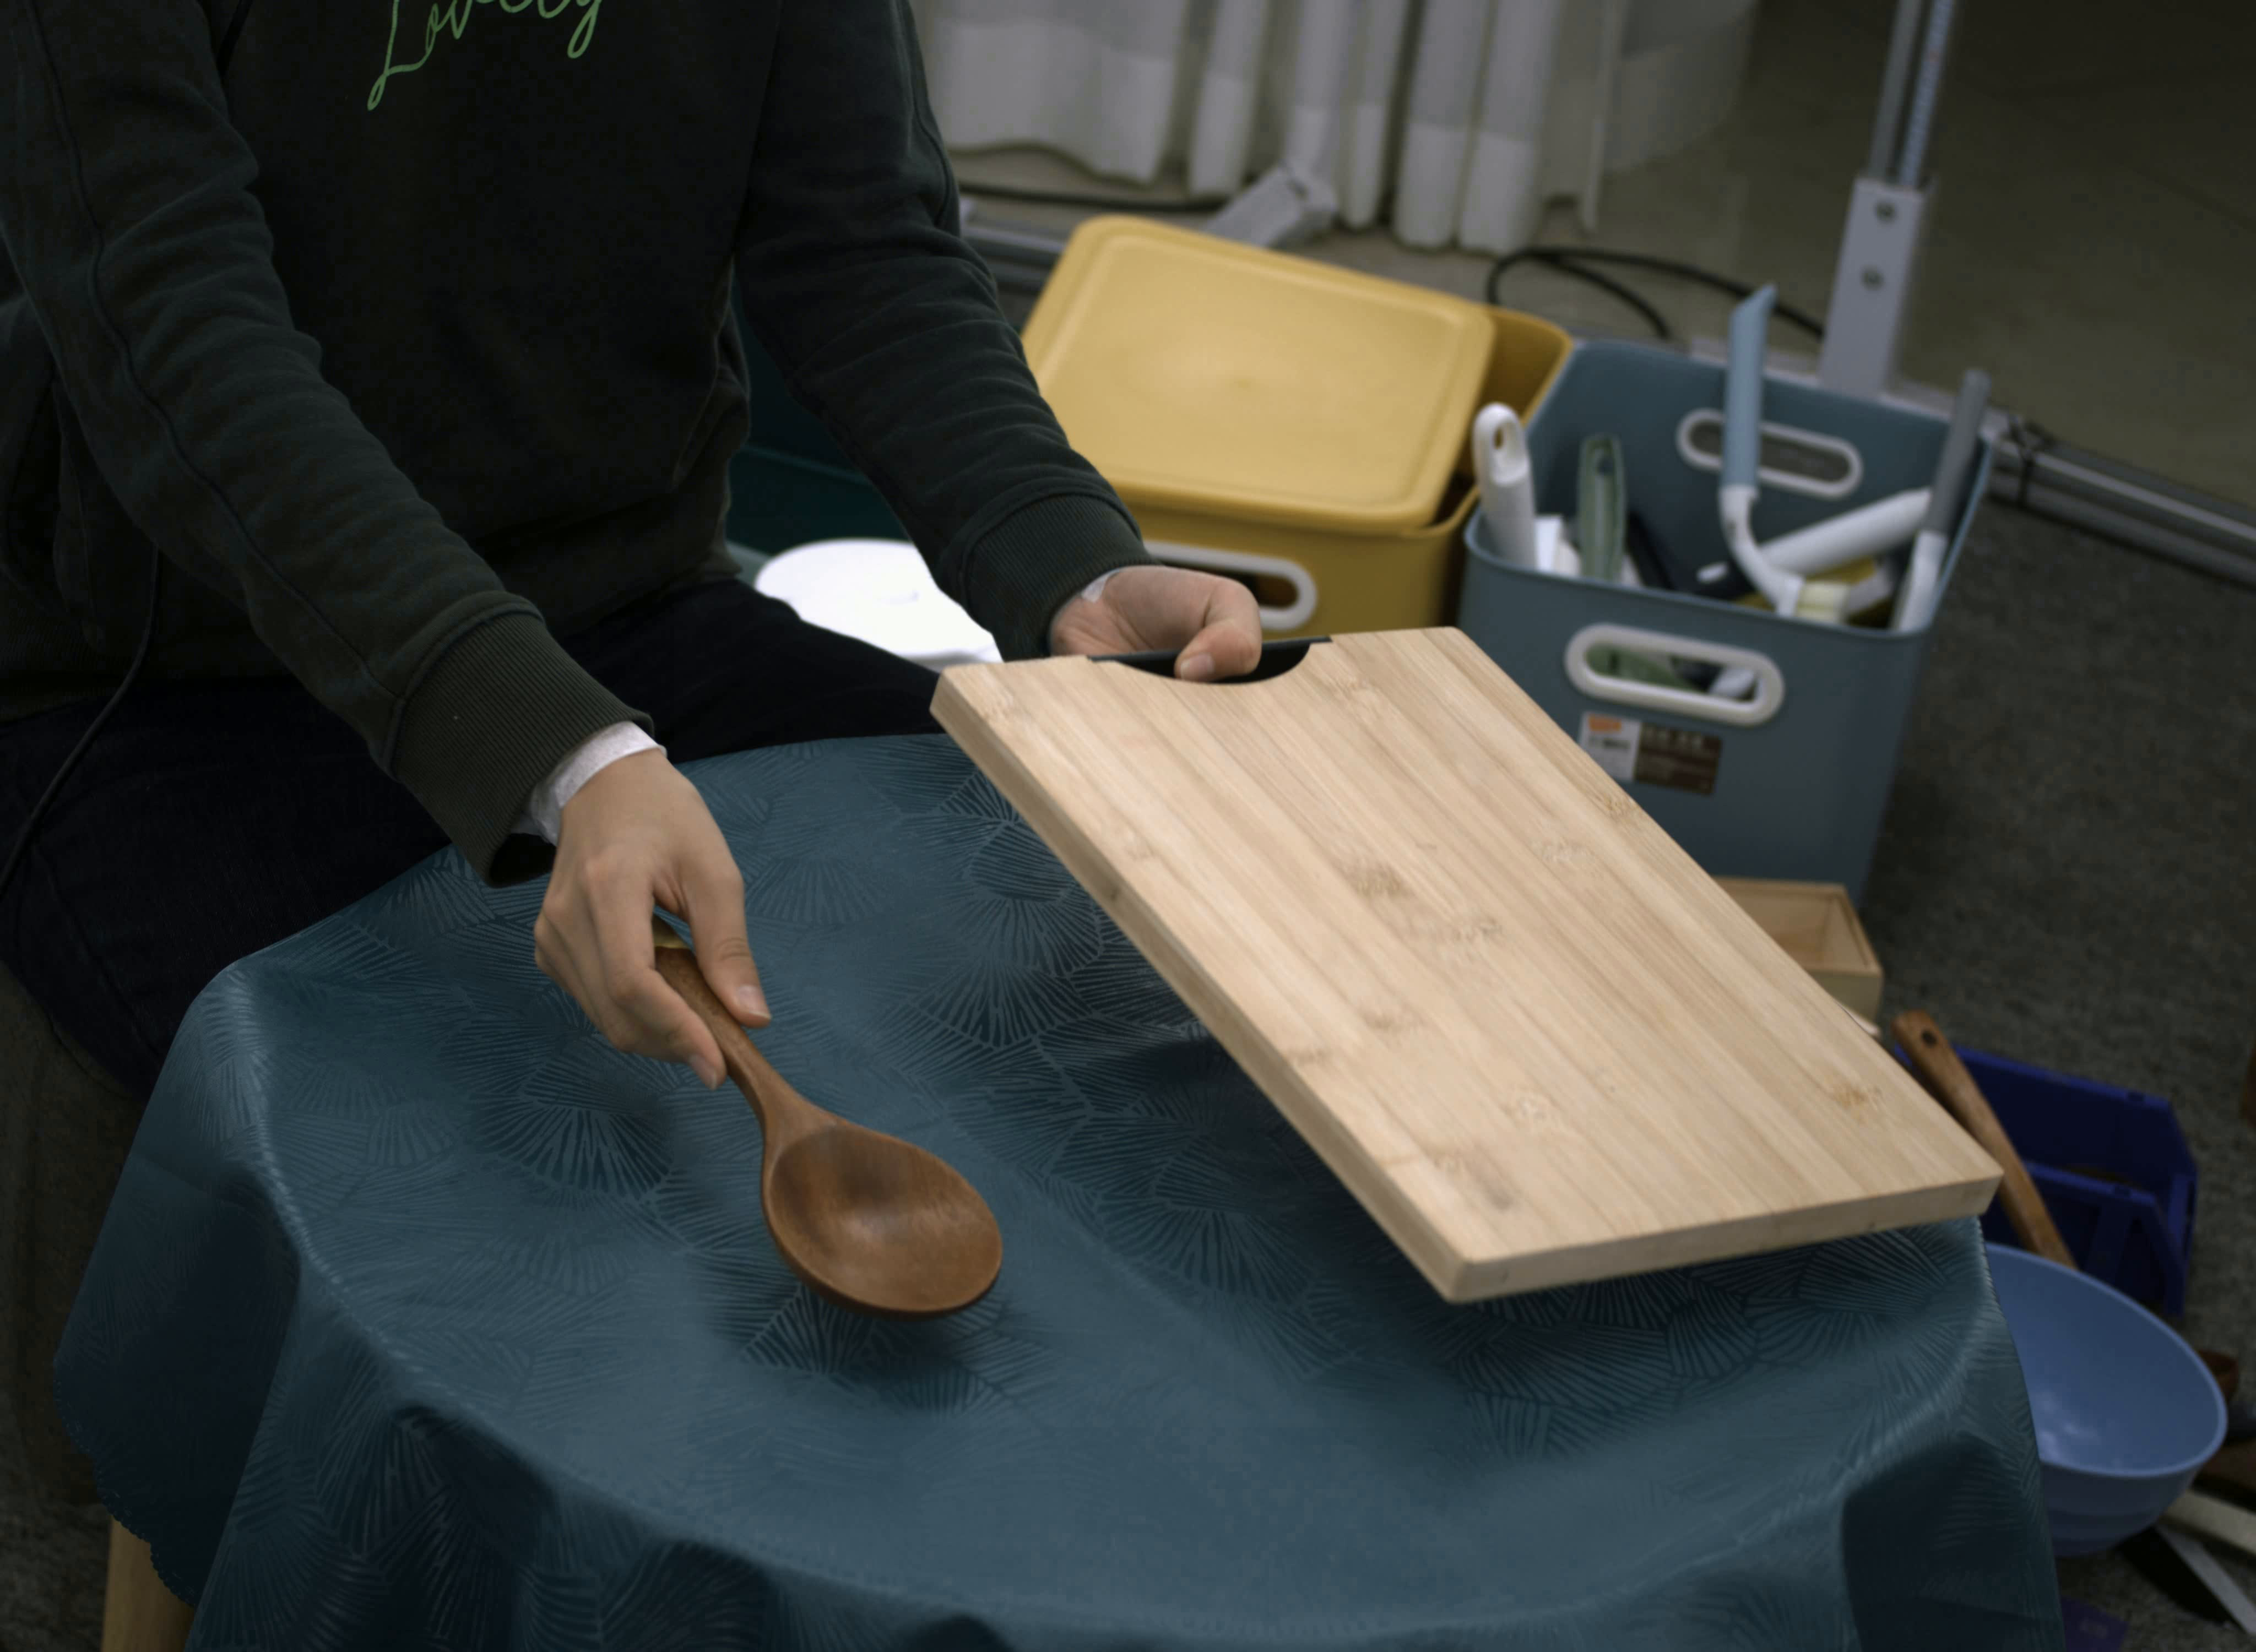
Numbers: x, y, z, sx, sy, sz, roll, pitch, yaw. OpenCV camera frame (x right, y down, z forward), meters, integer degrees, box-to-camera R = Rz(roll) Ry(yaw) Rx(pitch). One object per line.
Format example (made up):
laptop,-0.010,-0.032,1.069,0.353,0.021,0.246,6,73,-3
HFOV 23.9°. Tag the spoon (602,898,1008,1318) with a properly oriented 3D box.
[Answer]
spoon,-0.113,0.092,1.743,0.075,0.017,0.218,-17,45,-30

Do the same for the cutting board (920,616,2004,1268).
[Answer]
cutting board,0.111,0.032,1.856,0.249,0.023,0.352,-5,37,-36
